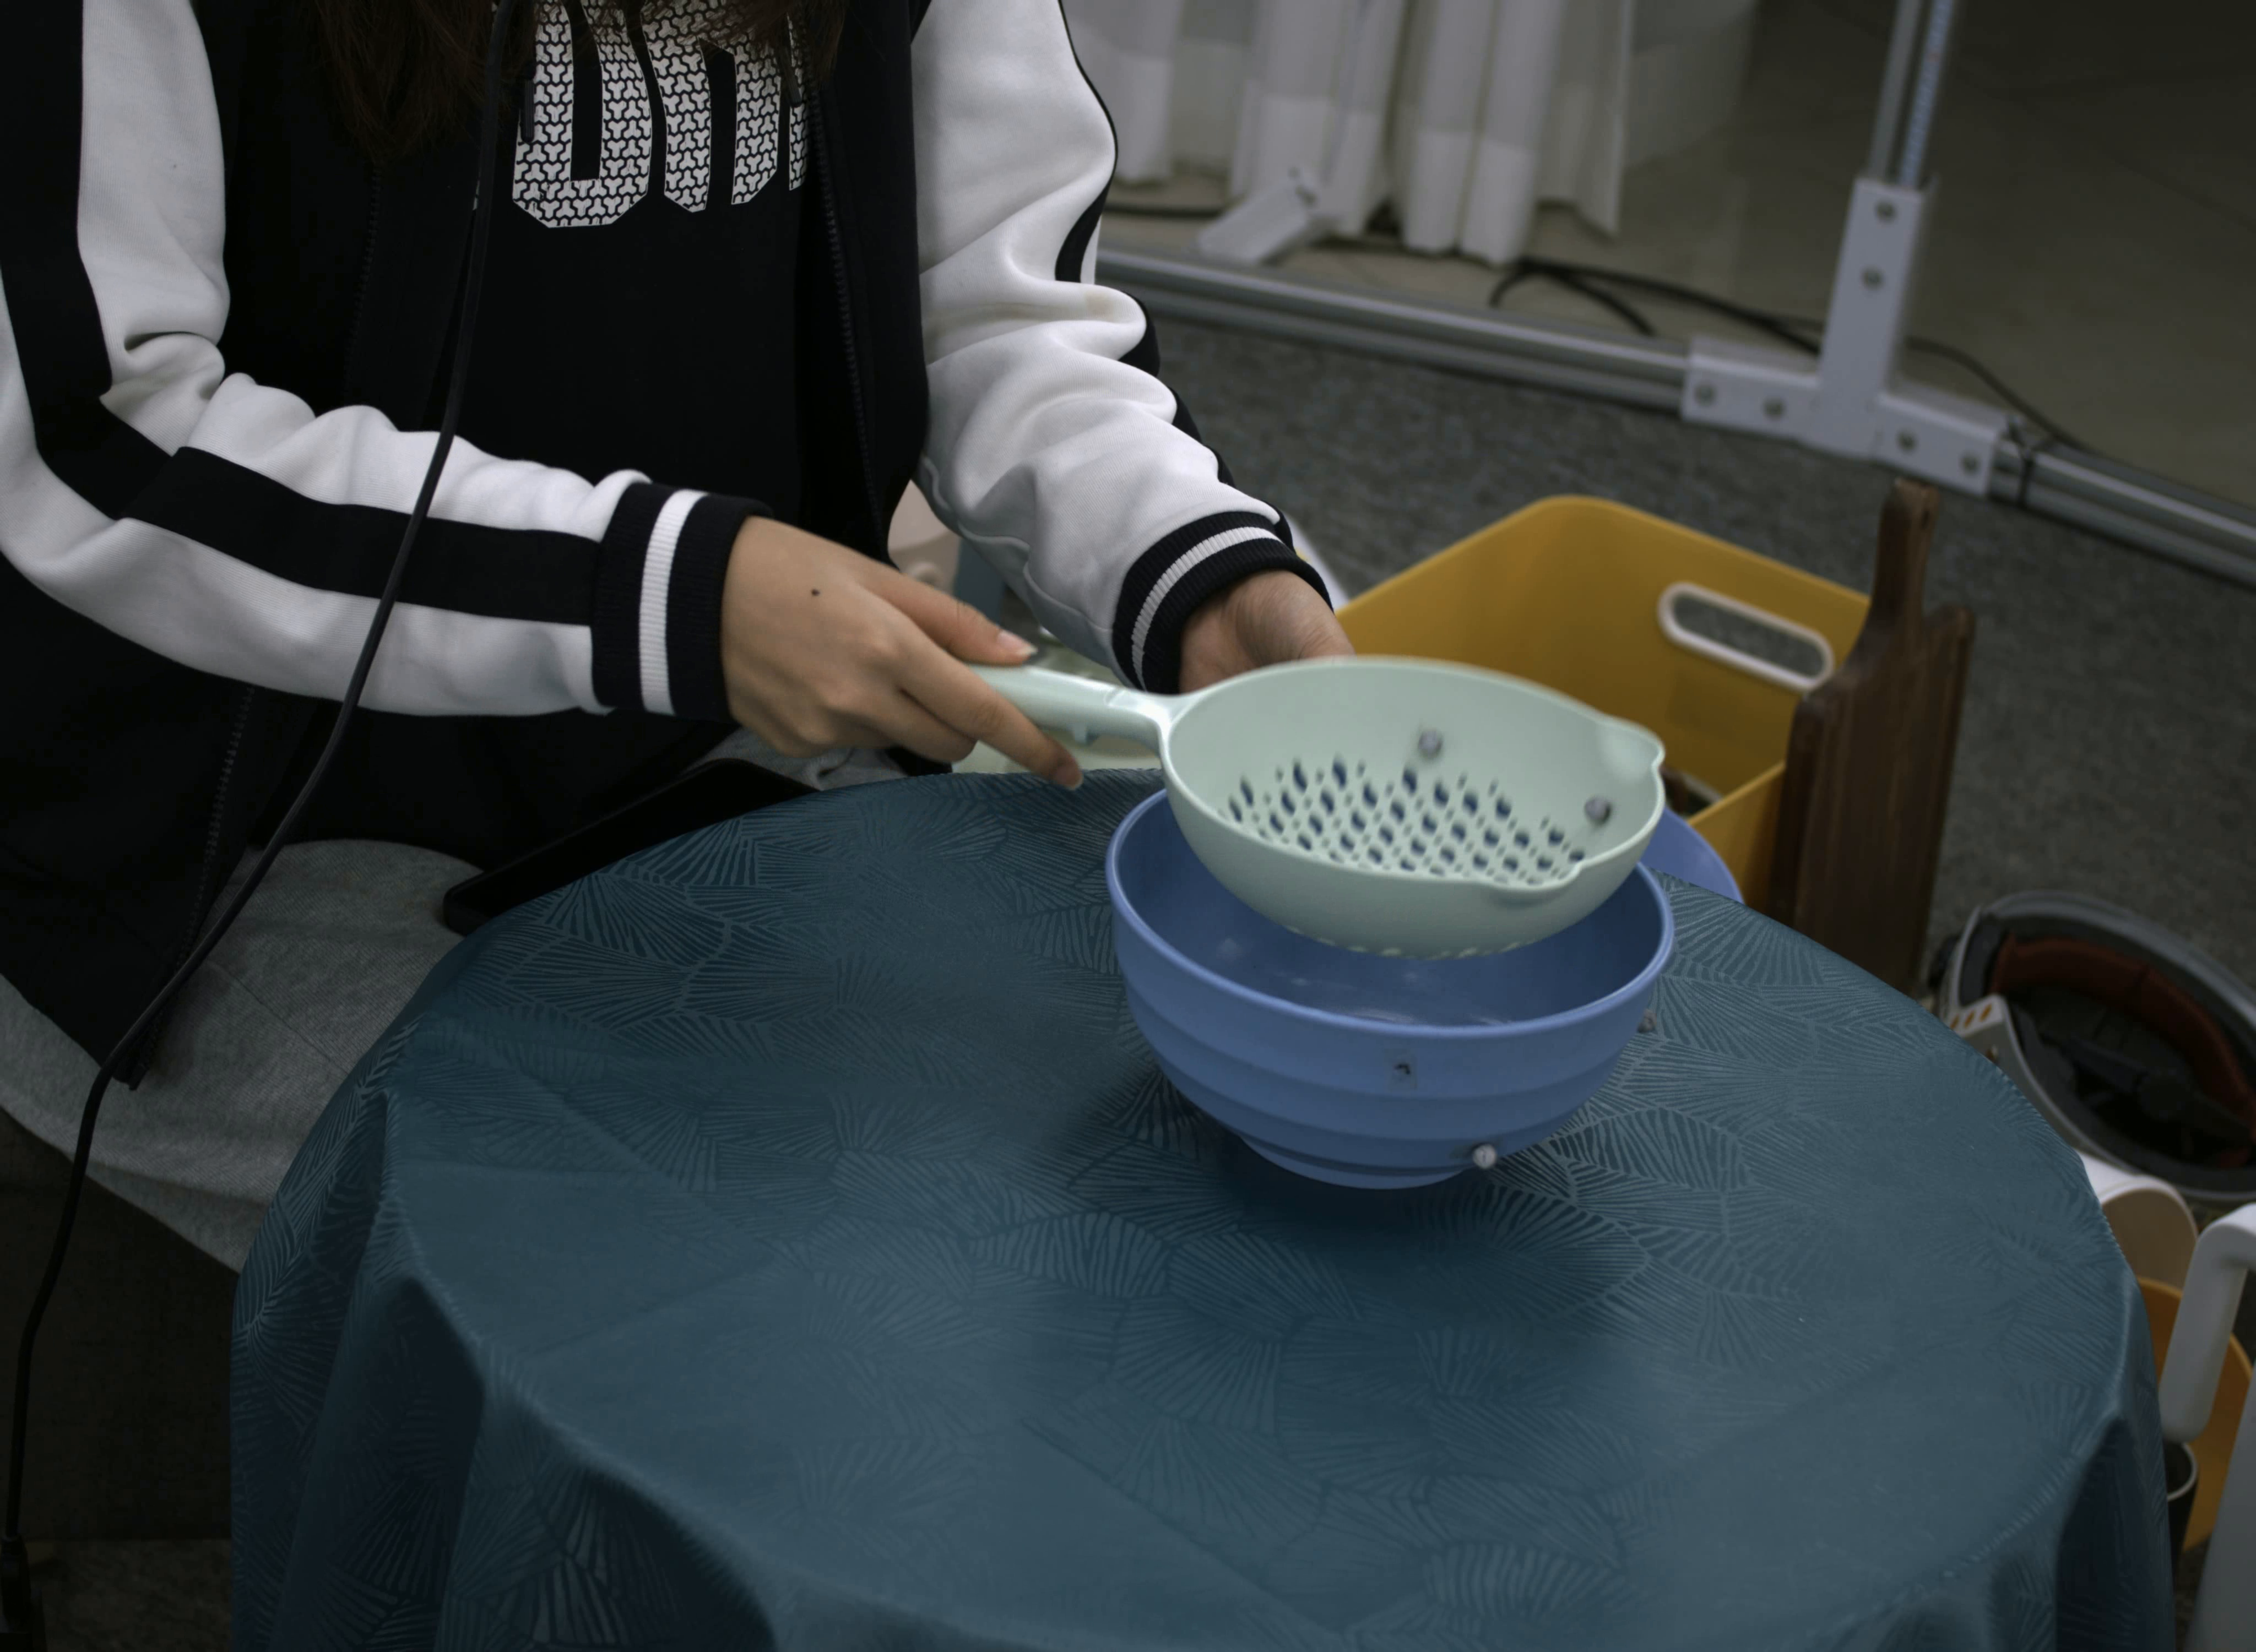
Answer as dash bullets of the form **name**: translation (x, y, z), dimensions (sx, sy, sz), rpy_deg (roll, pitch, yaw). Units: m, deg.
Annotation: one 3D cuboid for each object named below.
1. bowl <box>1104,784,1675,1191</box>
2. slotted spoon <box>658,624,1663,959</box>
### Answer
- **bowl**: translation (0.085, 0.062, 1.838), dimensions (0.196, 0.095, 0.198), rpy_deg (5, 27, -3)
- **slotted spoon**: translation (0.004, -0.028, 1.826), dimensions (0.359, 0.075, 0.169), rpy_deg (20, 24, 15)
